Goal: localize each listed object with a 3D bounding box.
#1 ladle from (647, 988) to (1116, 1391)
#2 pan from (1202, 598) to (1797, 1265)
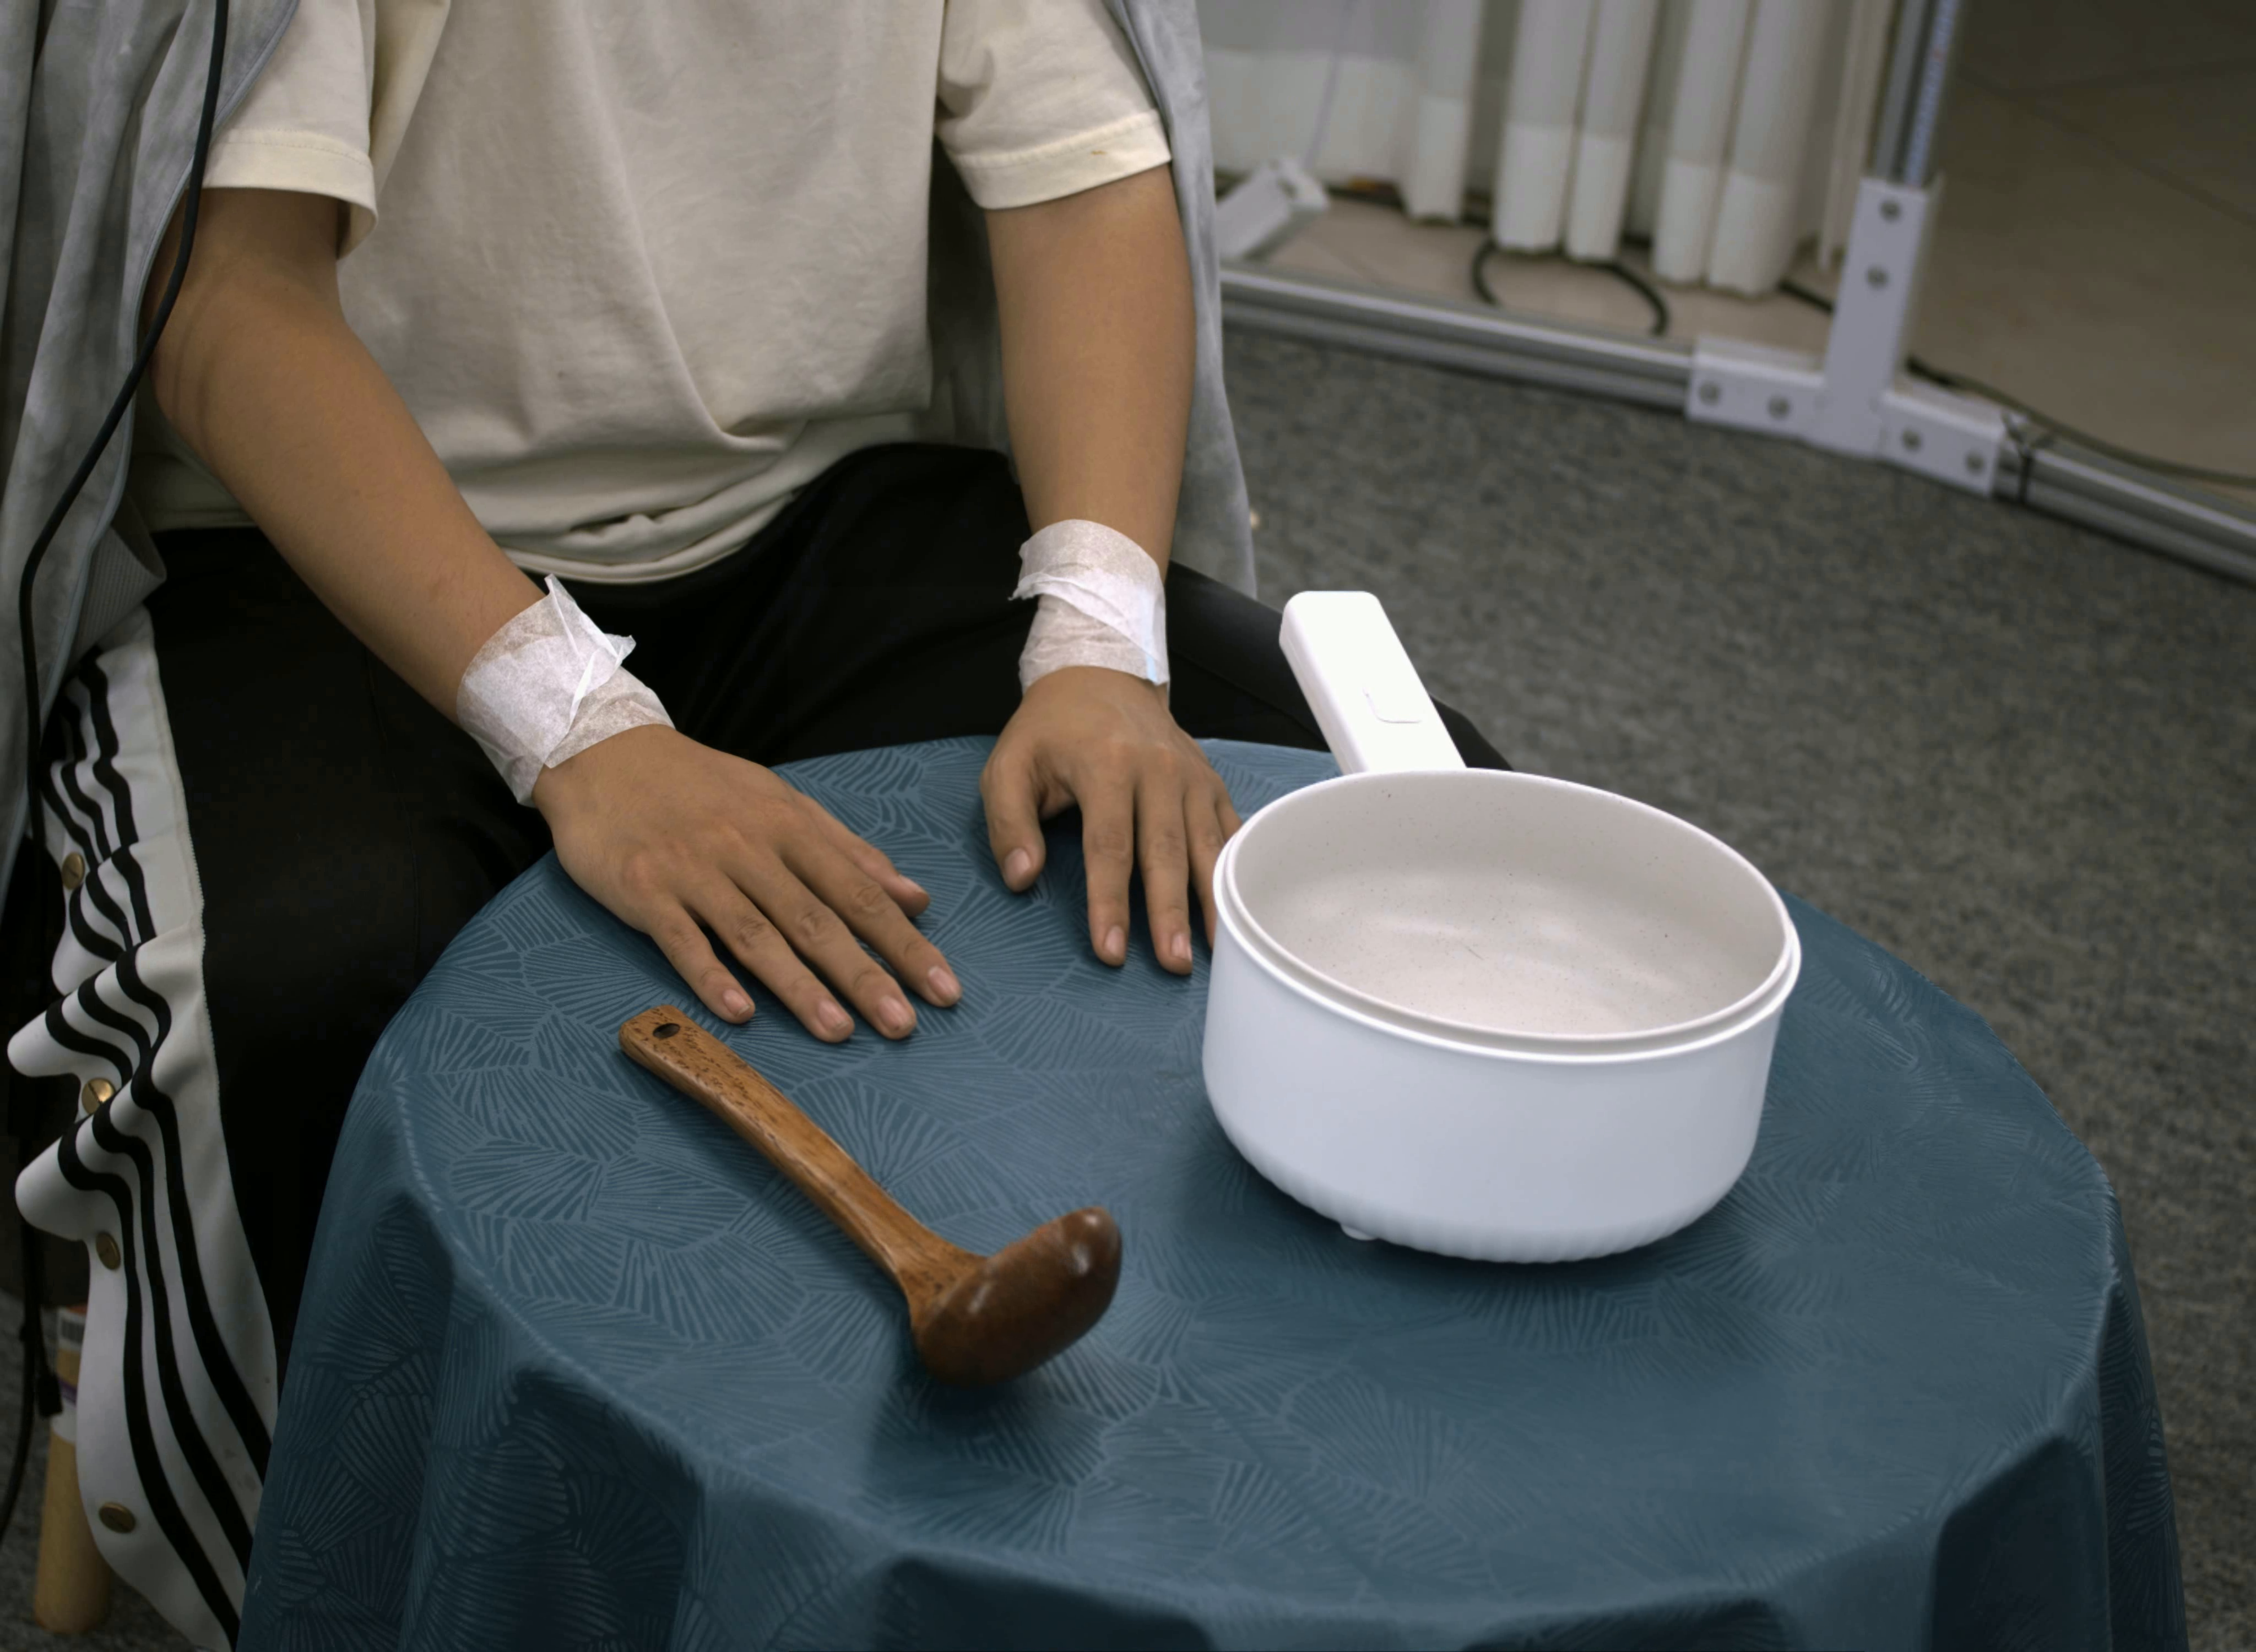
[{"bbox_3d":[-0.095,0.101,1.742,0.081,0.076,0.276,-21,38,-23],"label":"ladle"},{"bbox_3d":[0.109,0.035,1.898,0.200,0.102,0.357,-1,27,-12],"label":"pan"}]
